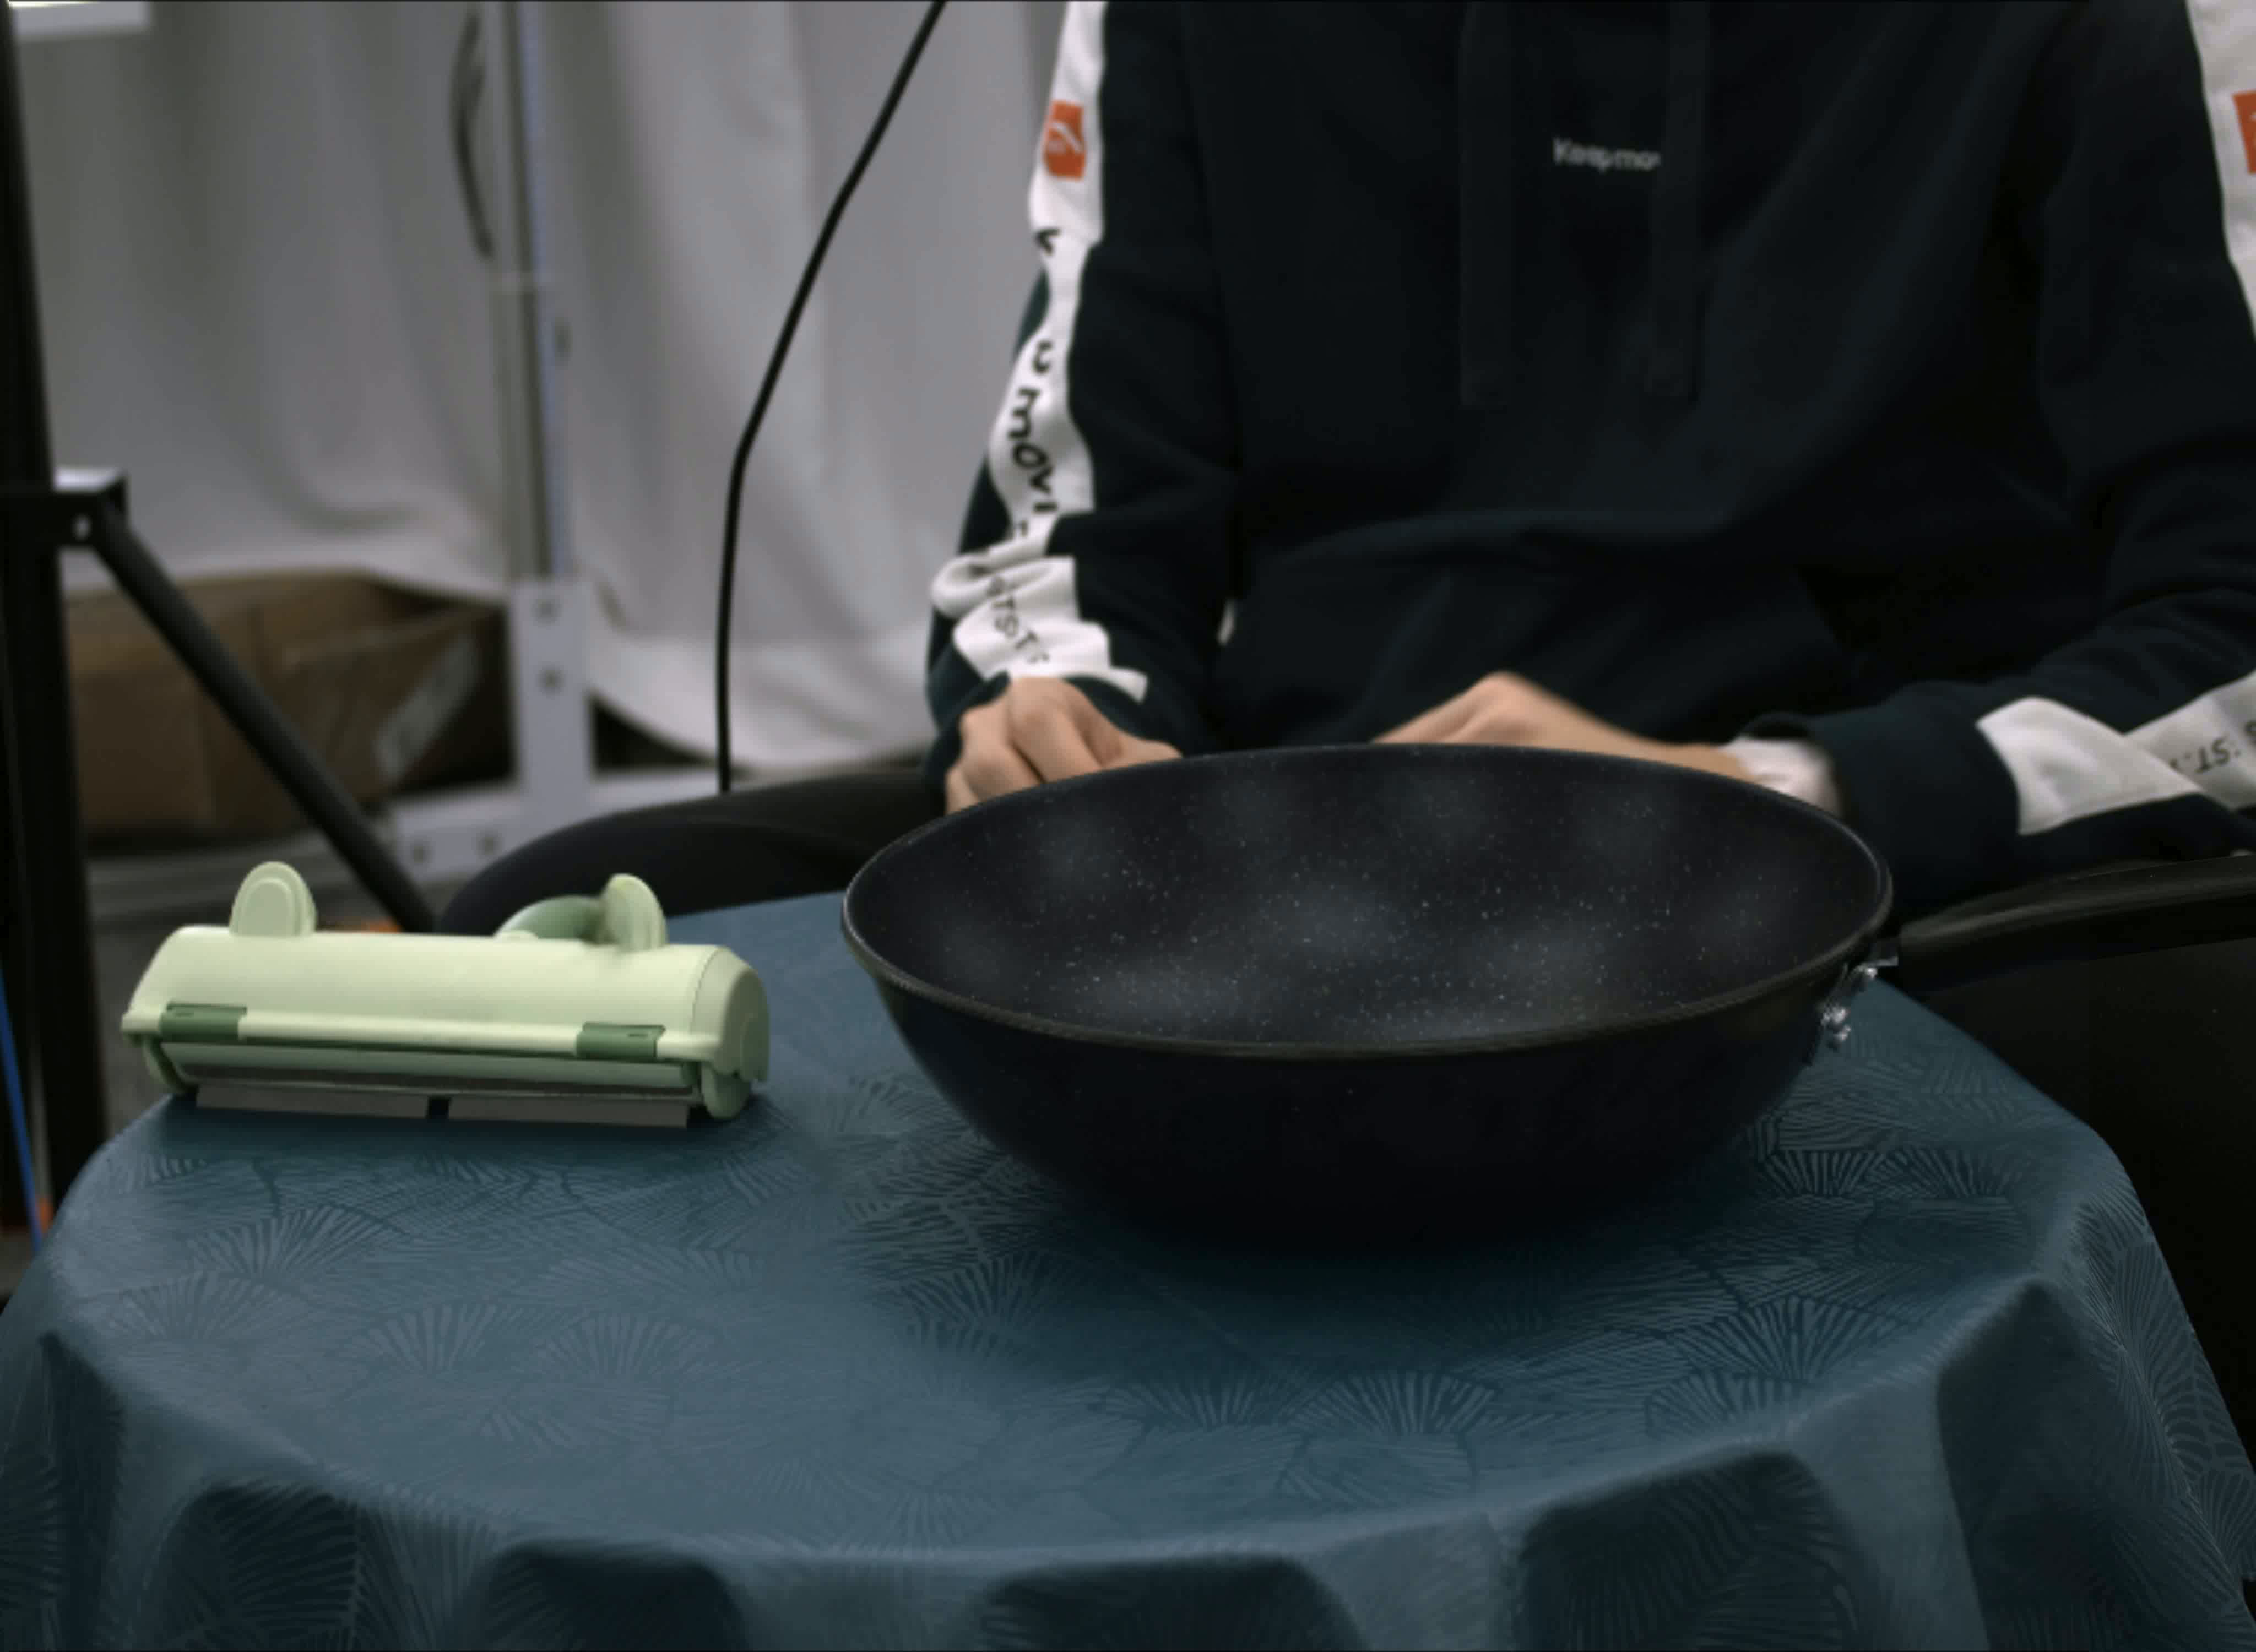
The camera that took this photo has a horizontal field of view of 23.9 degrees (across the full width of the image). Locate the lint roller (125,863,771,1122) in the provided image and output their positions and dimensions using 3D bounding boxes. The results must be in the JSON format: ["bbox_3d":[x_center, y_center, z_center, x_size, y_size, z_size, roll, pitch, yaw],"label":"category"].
[{"bbox_3d":[-0.198,0.035,1.712,0.200,0.082,0.182,1,22,16],"label":"lint roller"}]

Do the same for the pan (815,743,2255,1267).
[{"bbox_3d":[0.142,0.052,1.536,0.482,0.111,0.307,2,18,20],"label":"pan"}]
